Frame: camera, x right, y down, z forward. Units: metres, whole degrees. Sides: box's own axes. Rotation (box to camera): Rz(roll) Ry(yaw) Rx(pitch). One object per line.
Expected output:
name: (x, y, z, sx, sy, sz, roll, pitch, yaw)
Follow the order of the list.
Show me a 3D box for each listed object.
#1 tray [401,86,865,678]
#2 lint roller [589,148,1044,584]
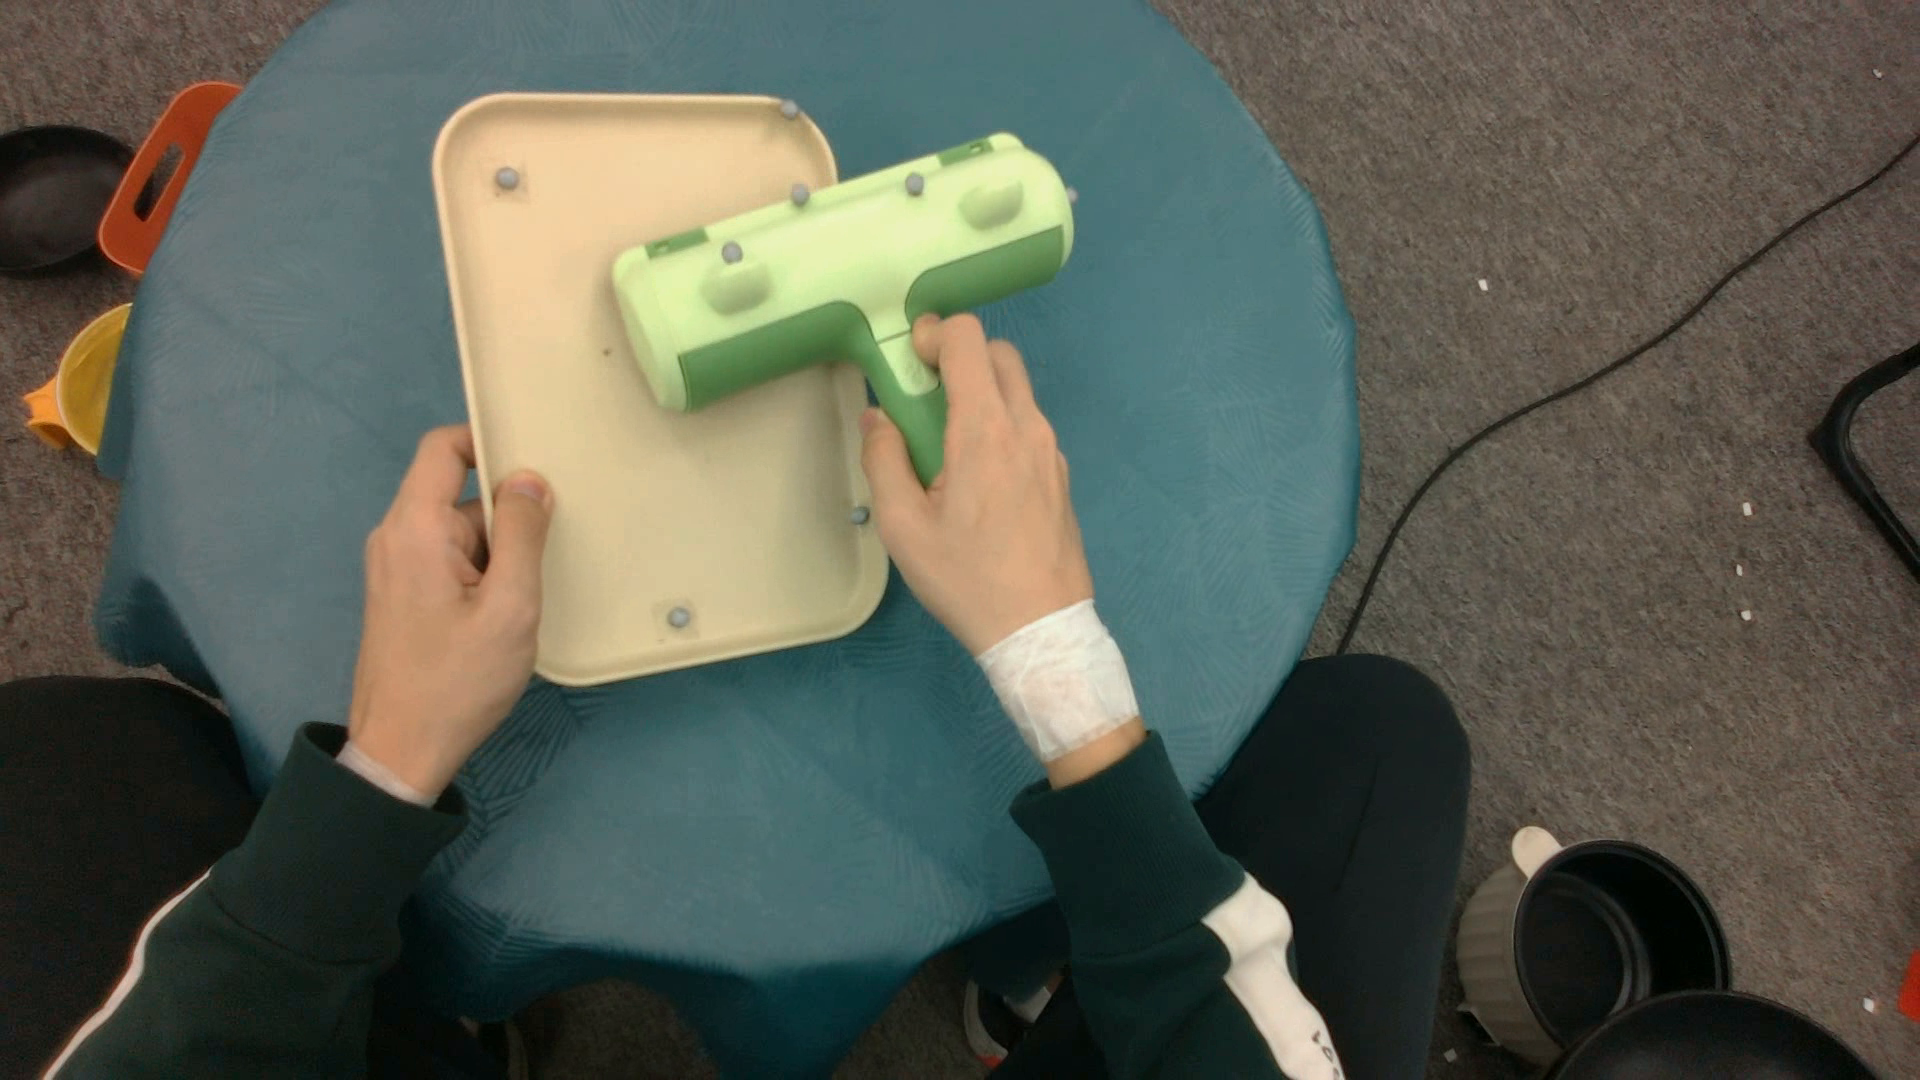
tray: (-0.133, -0.071, 0.586, 0.172, 0.017, 0.239, -11, 94, -30)
lint roller: (-0.027, -0.070, 0.570, 0.199, 0.082, 0.183, -25, 69, -21)
